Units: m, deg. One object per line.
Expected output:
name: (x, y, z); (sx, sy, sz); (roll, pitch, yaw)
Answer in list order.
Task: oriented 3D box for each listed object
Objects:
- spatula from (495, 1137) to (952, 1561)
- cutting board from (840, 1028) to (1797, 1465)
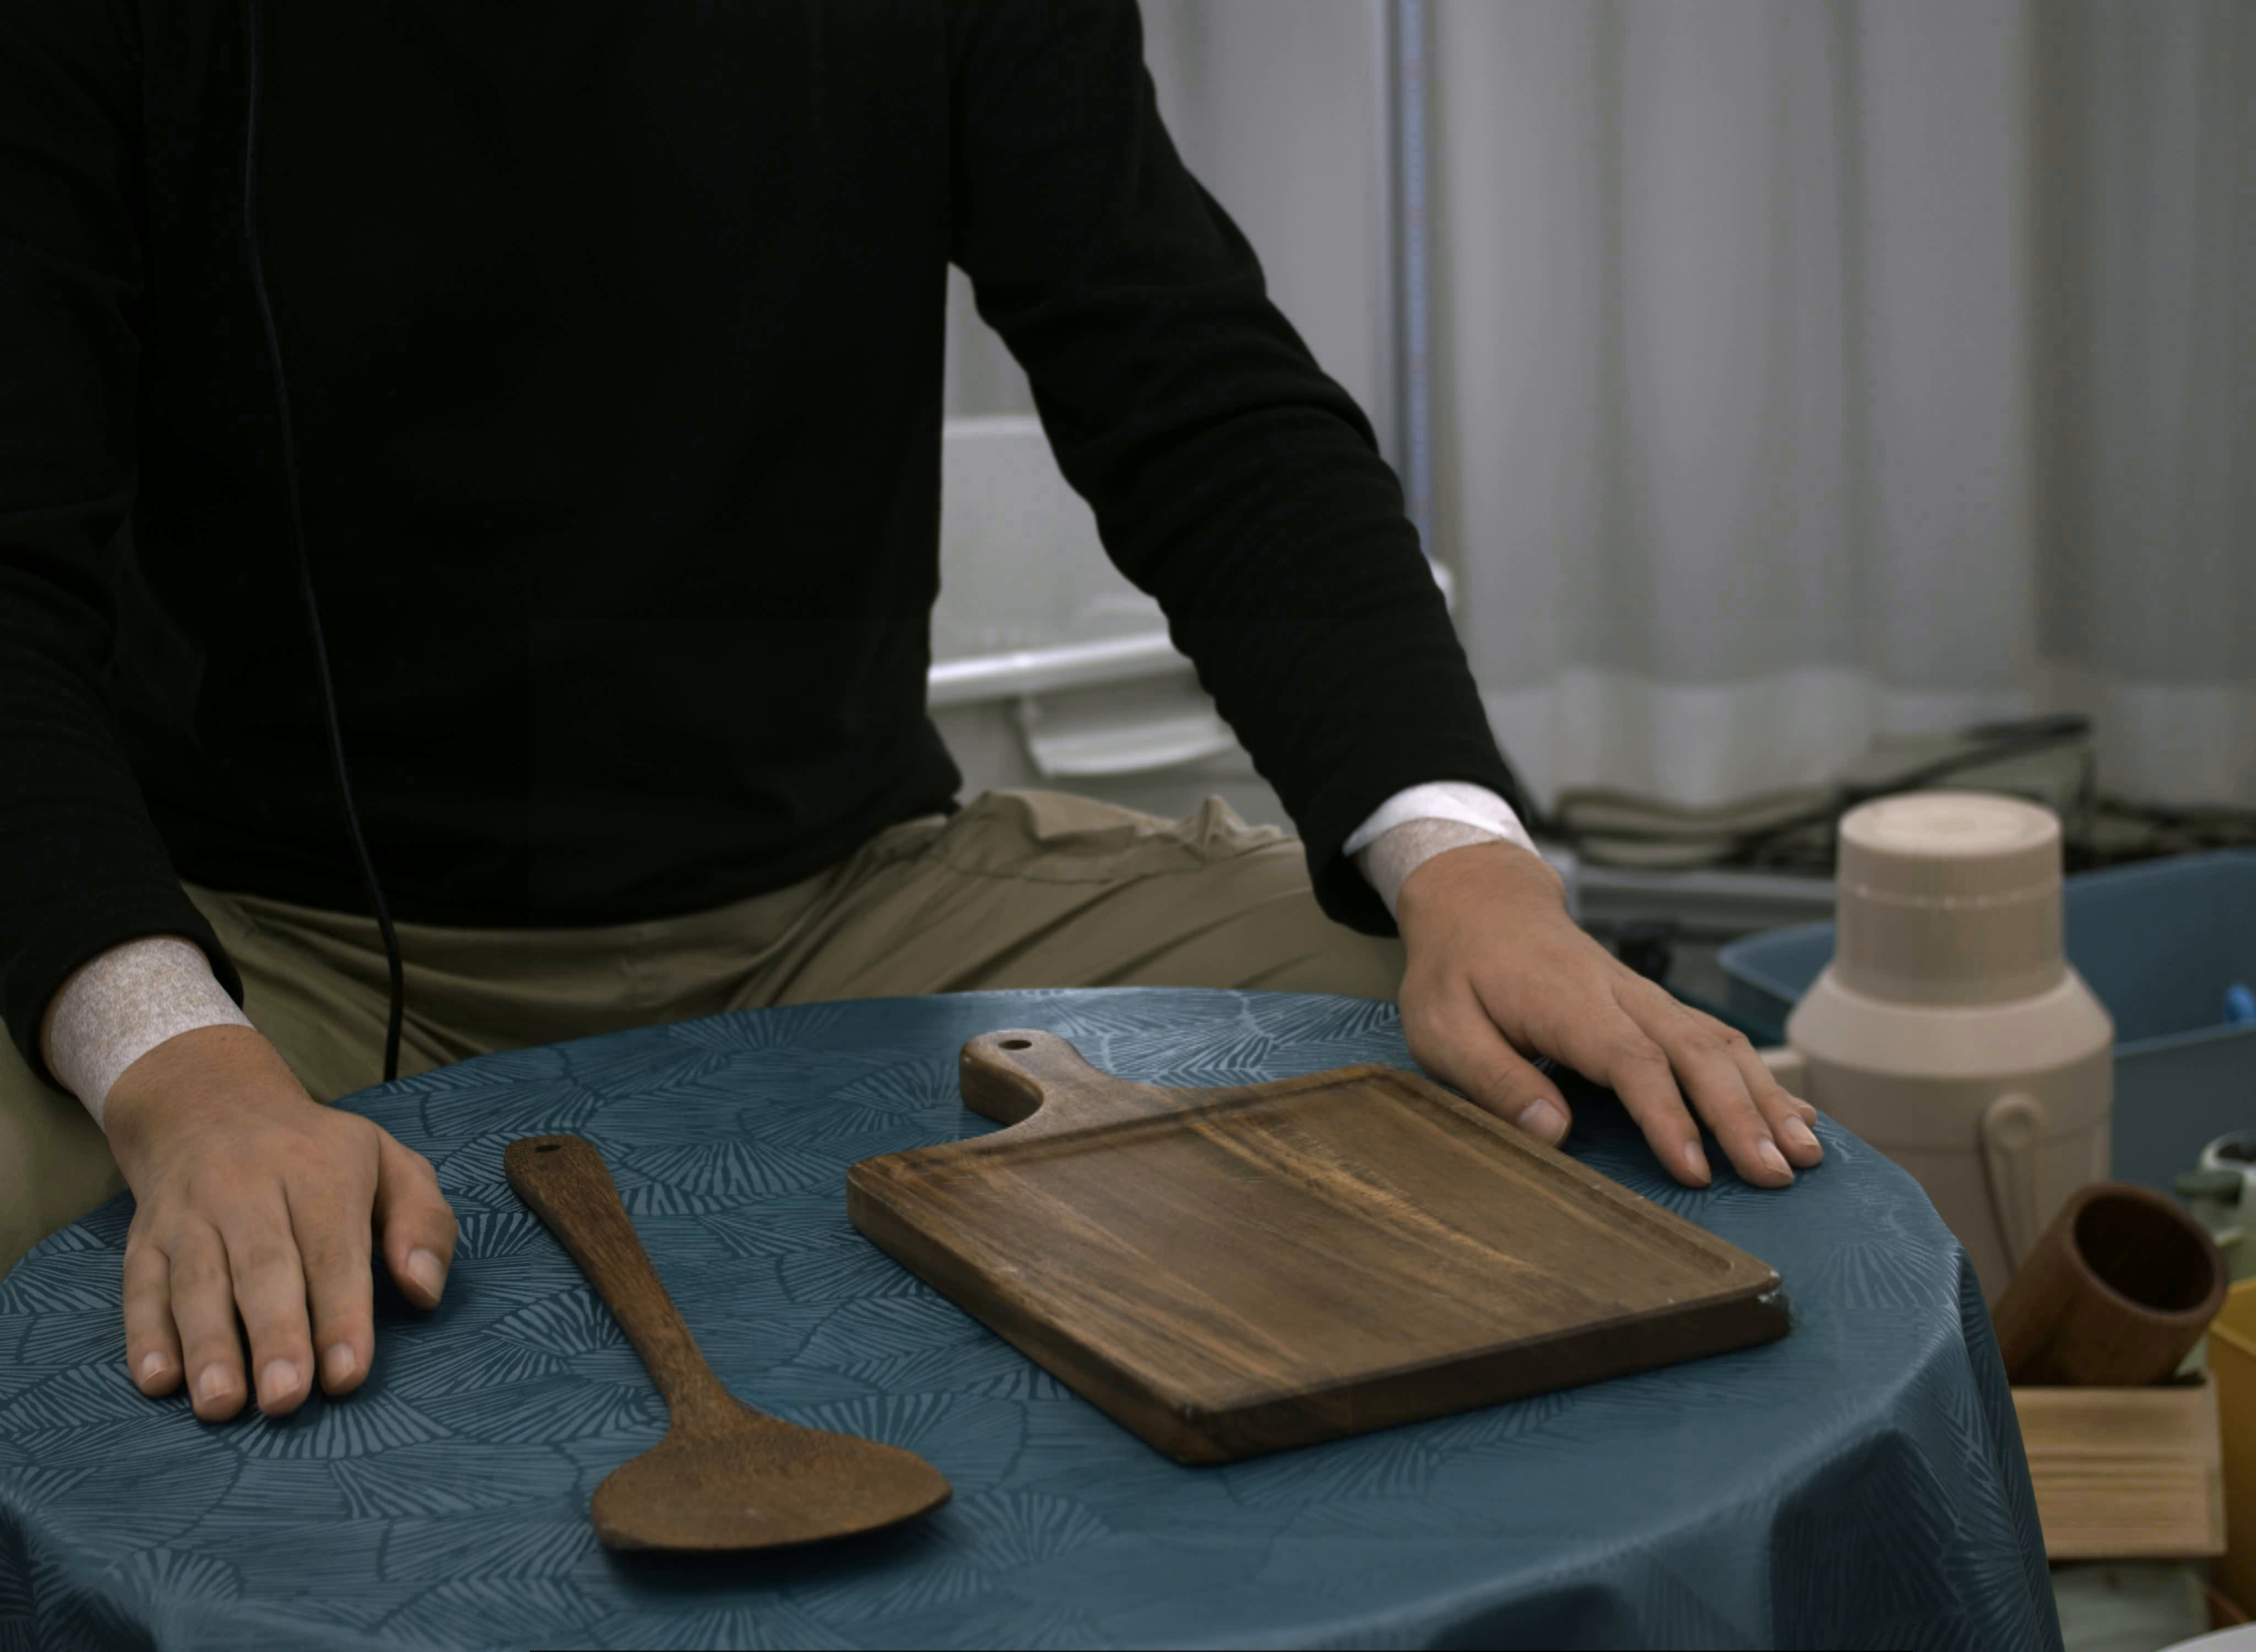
spatula: (-0.140, 0.145, 1.597); (0.095, 0.016, 0.389); (-6, 15, -15)
cutting board: (0.030, 0.114, 1.669); (0.200, 0.023, 0.355); (-9, 16, -24)
